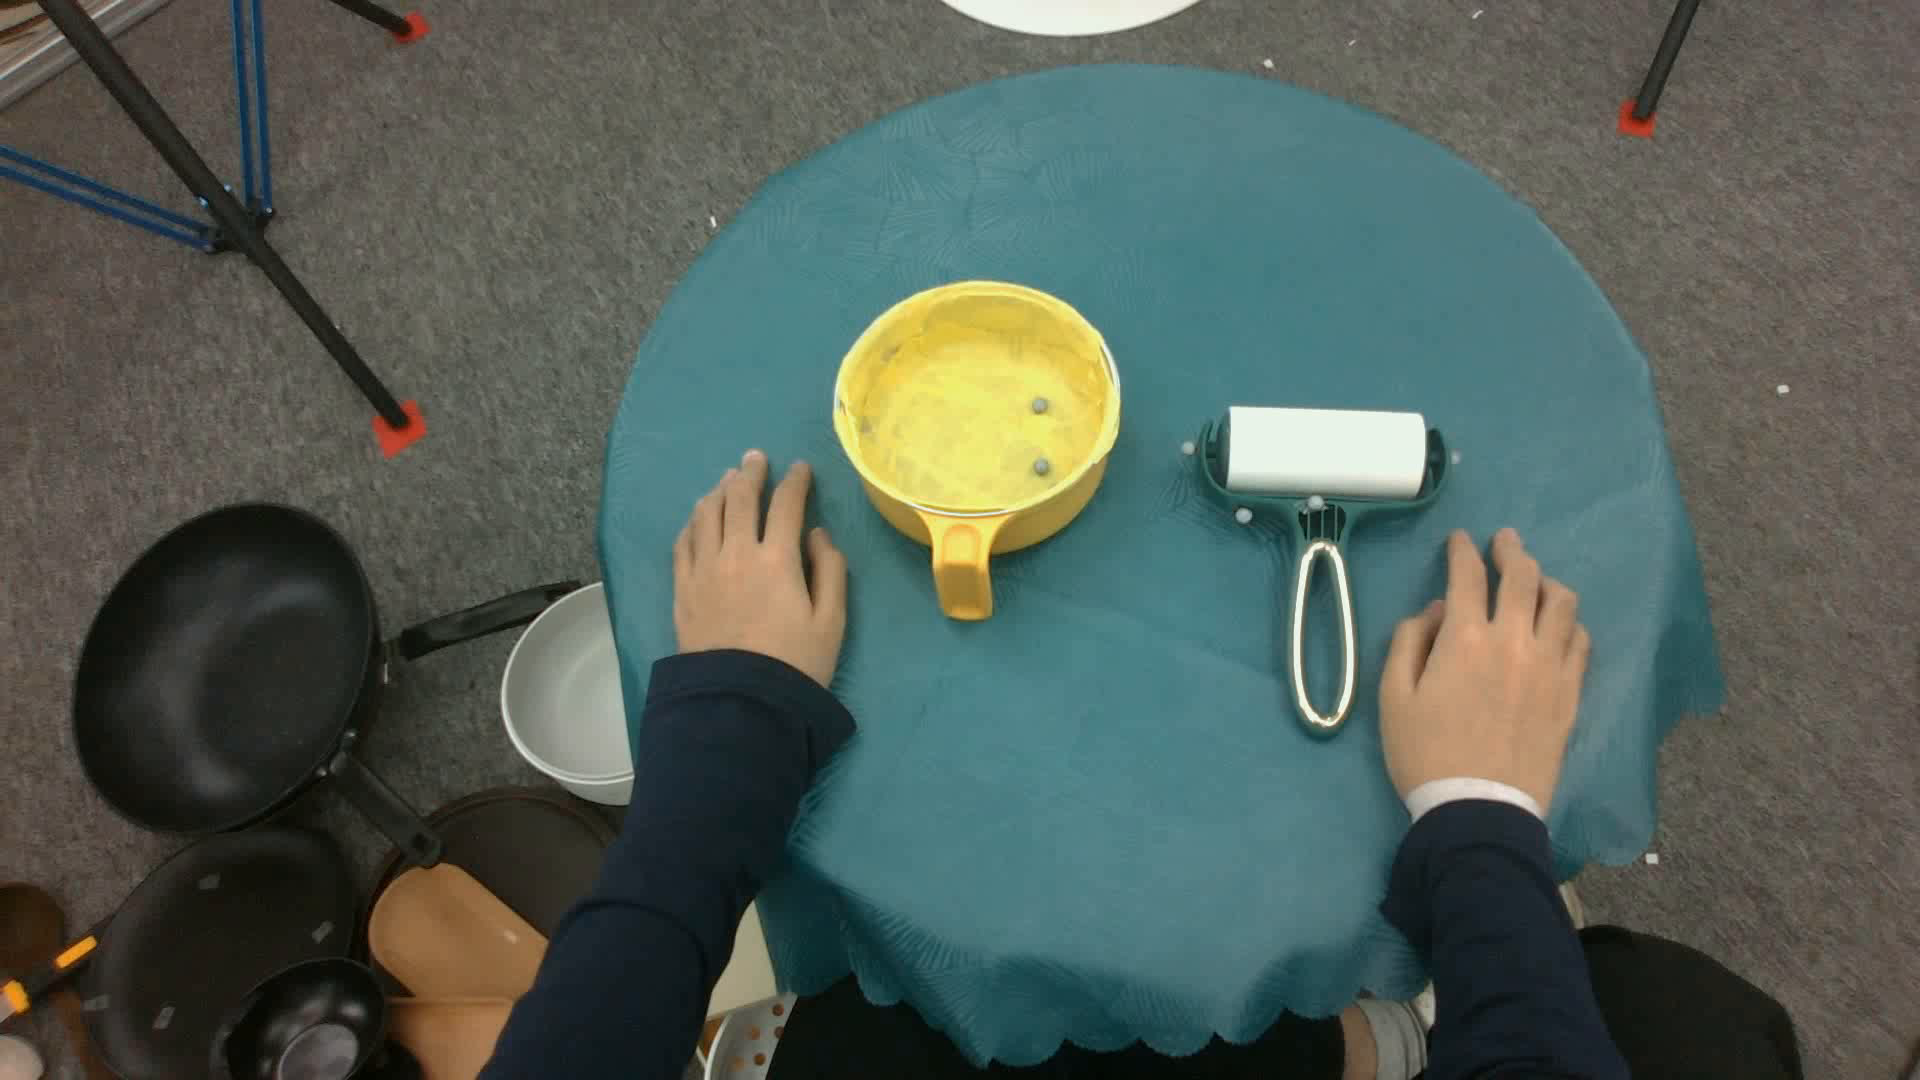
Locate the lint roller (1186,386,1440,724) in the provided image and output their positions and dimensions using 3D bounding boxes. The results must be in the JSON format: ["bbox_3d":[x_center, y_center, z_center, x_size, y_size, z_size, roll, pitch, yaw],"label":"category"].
[{"bbox_3d":[0.183,0.003,0.717,0.134,0.048,0.181,3,66,5],"label":"lint roller"}]

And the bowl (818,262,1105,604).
[{"bbox_3d":[0.001,-0.060,0.749,0.153,0.074,0.180,-2,61,1],"label":"bowl"}]
